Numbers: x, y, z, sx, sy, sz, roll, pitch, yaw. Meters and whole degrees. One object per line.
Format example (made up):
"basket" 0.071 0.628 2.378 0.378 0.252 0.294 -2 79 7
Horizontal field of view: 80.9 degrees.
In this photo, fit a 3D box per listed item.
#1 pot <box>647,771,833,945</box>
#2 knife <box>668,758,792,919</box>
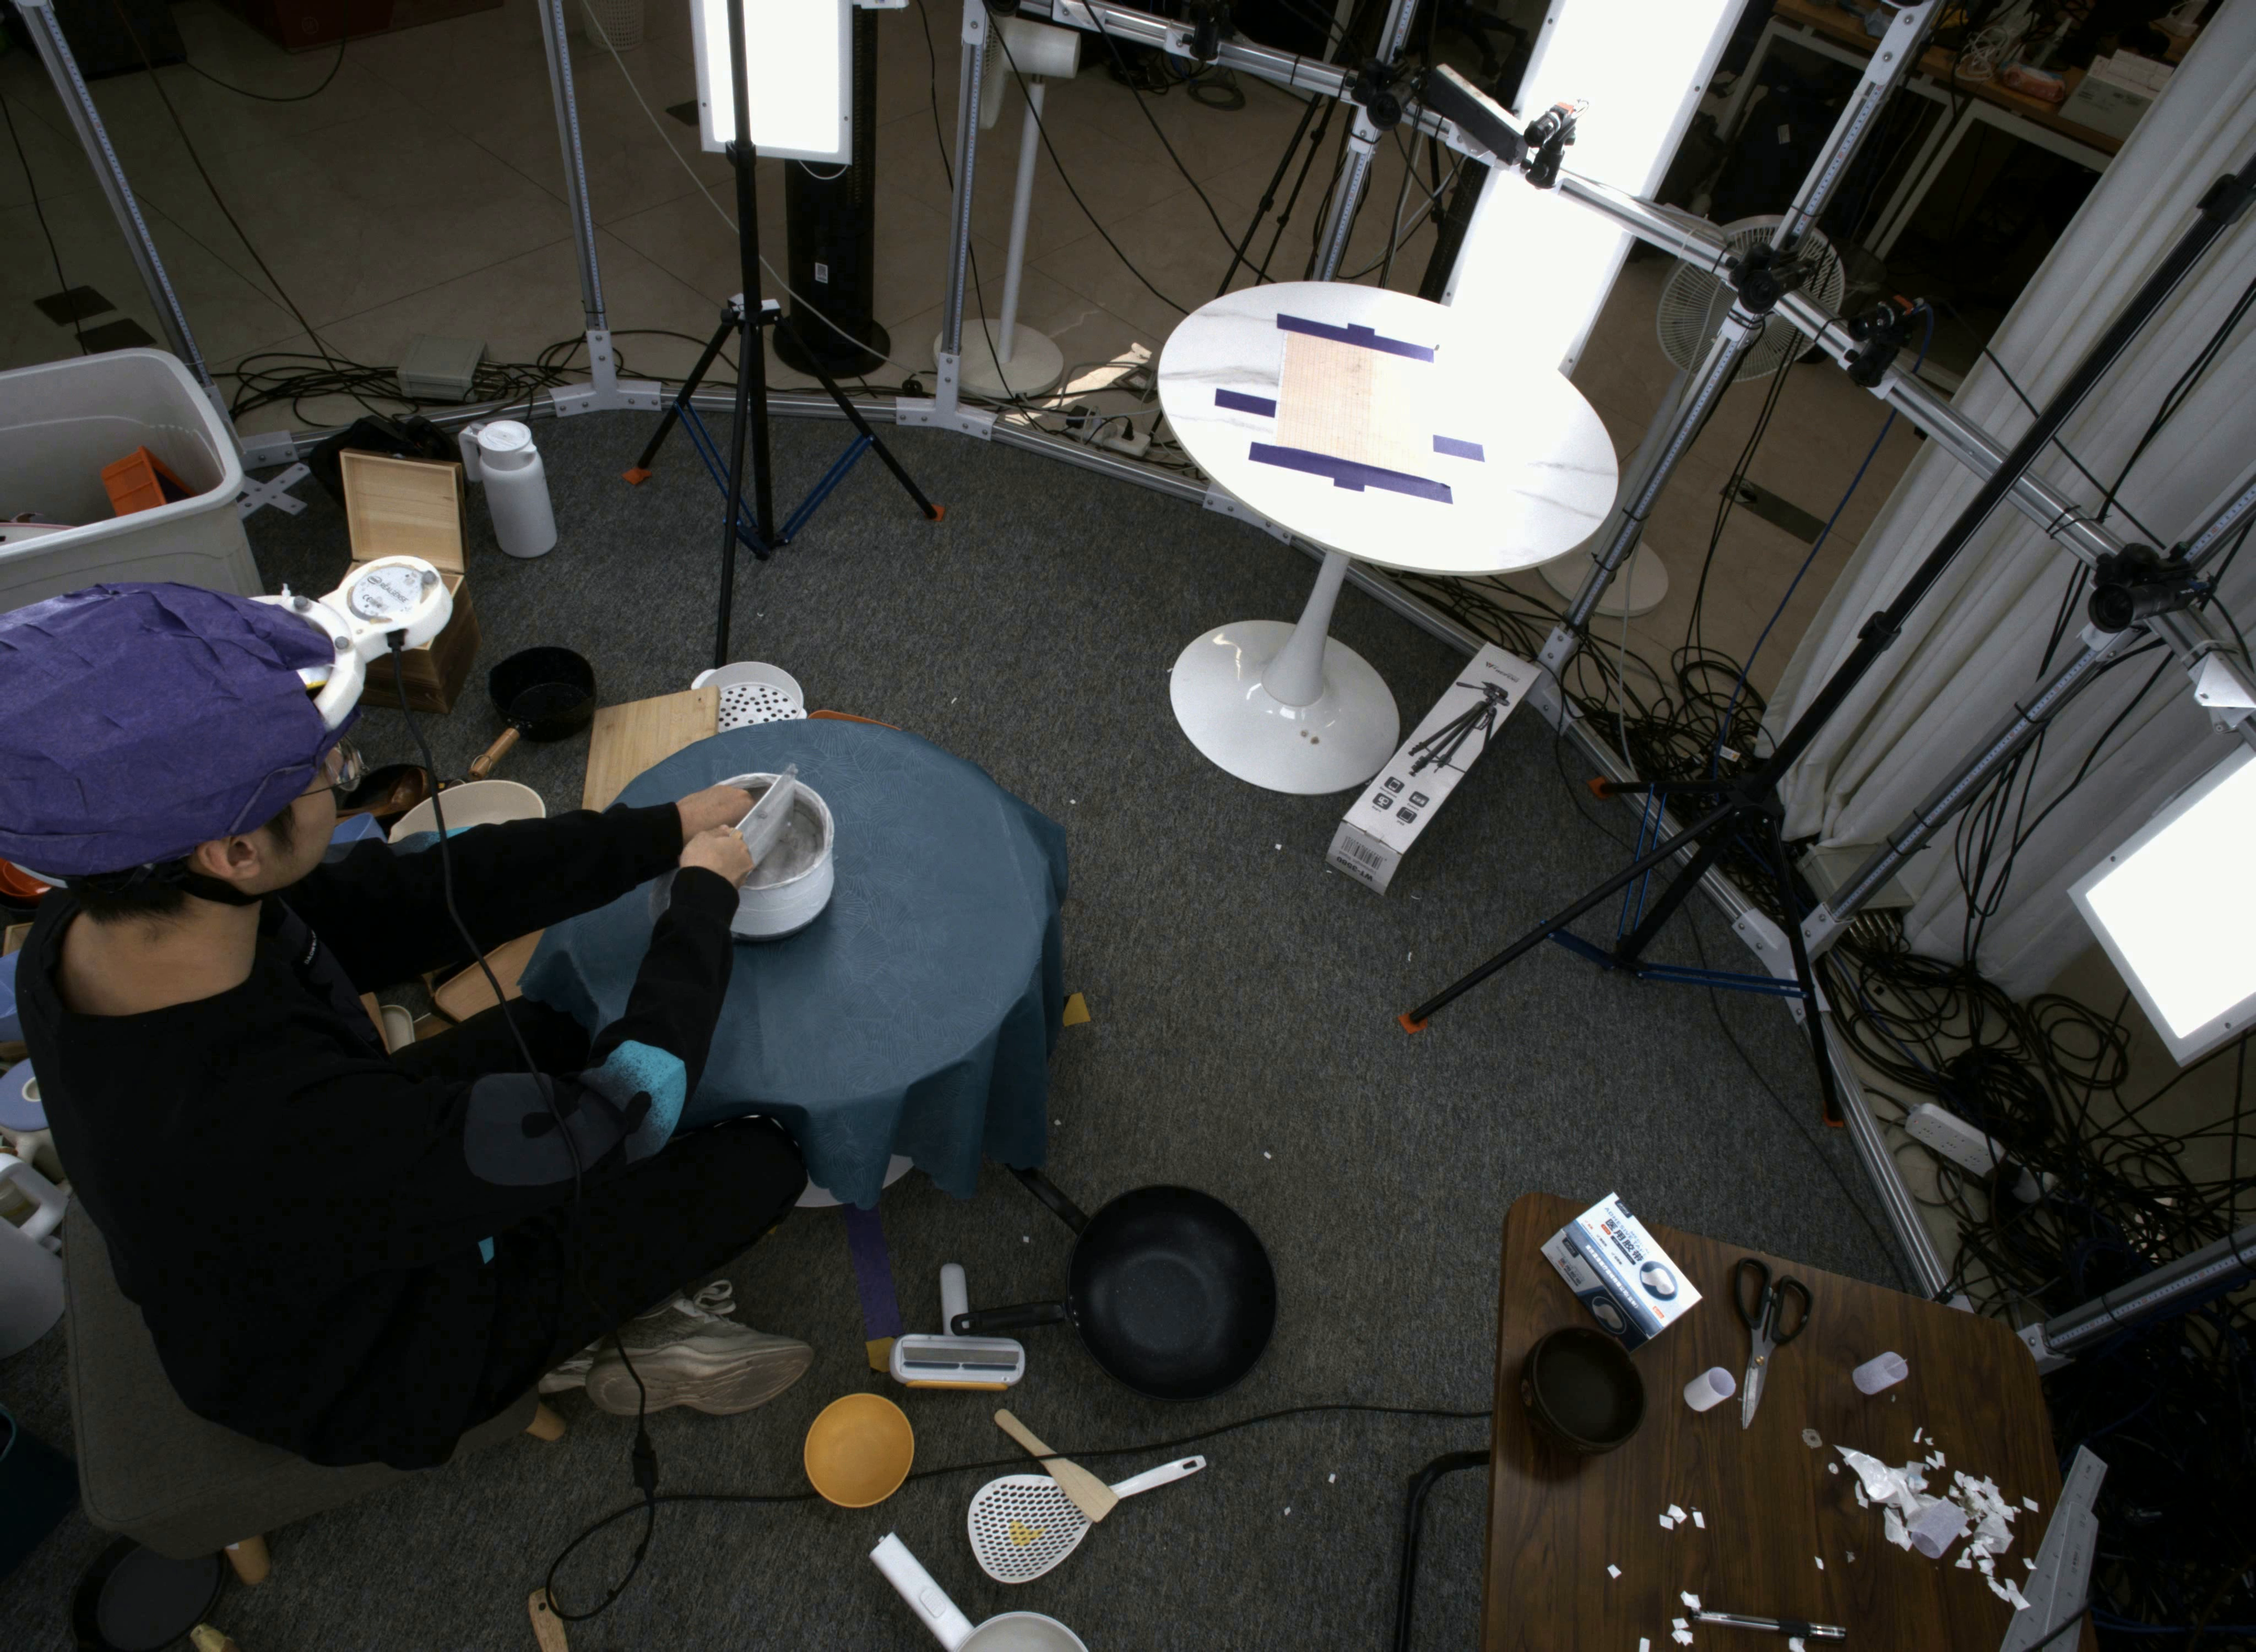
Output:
"pot" -0.474 0.051 1.573 0.235 0.139 0.174 -25 62 -30
"knife" -0.438 0.016 1.458 0.021 0.117 0.312 13 24 4
